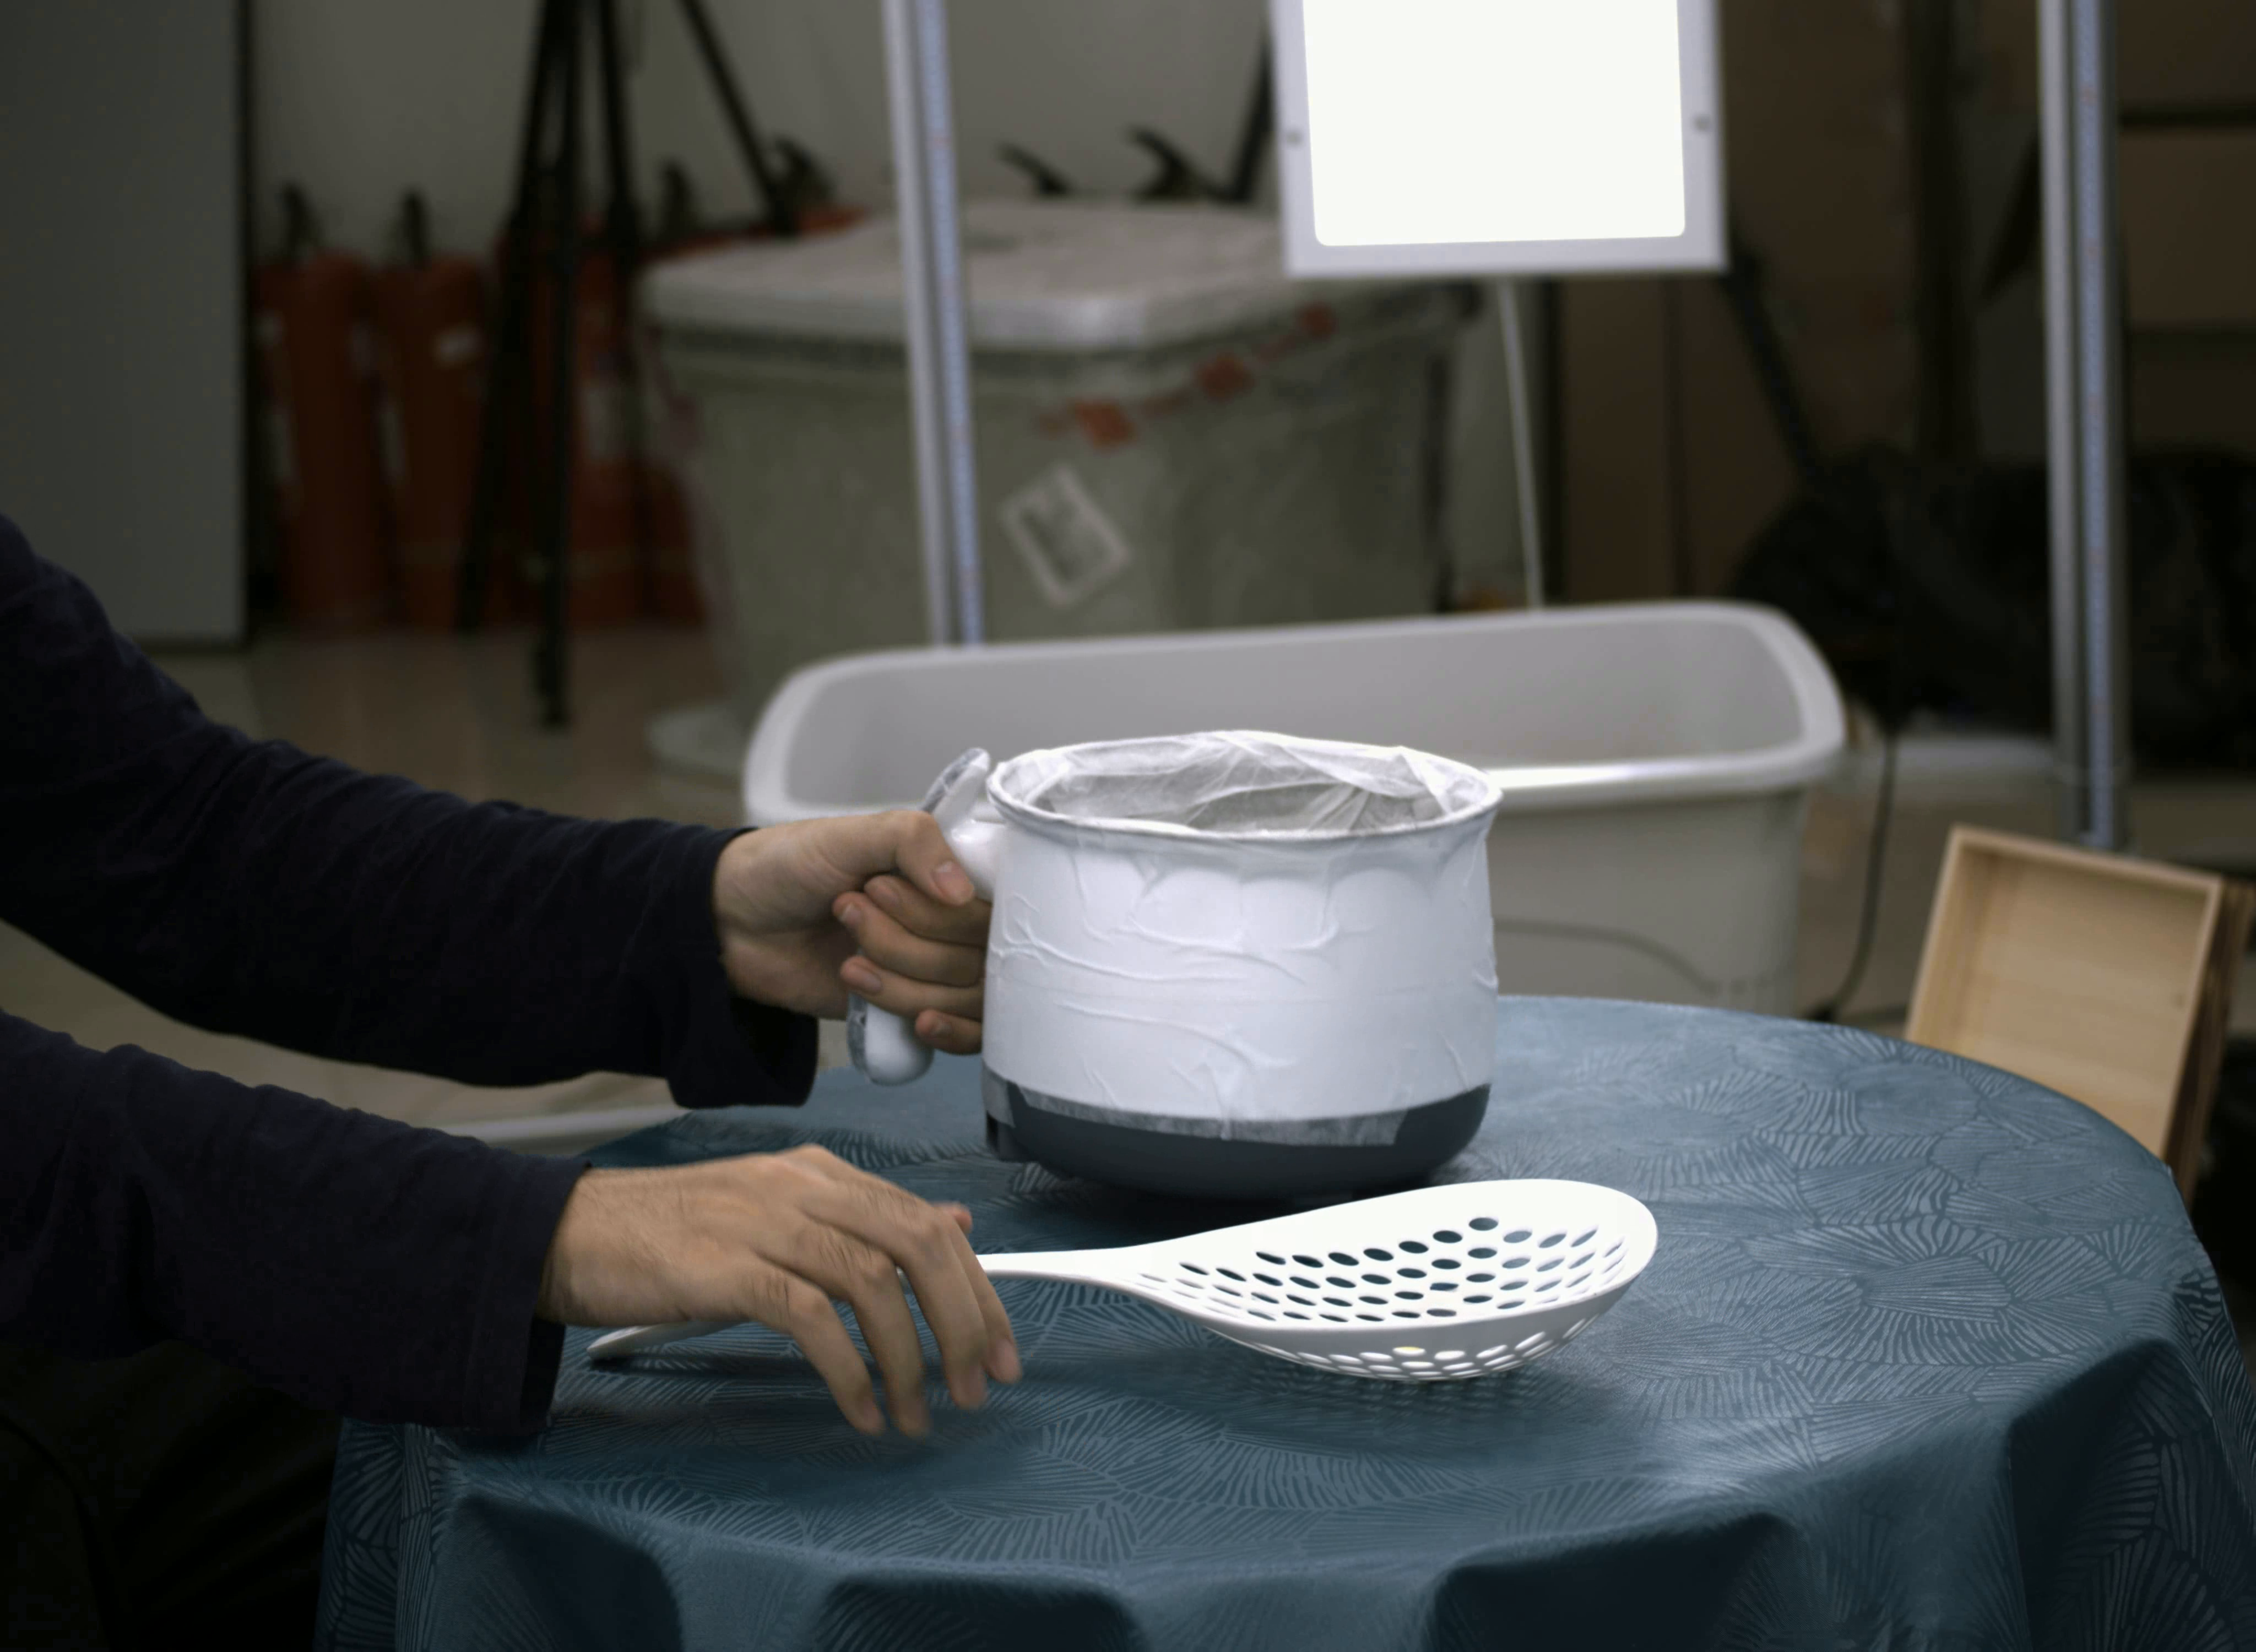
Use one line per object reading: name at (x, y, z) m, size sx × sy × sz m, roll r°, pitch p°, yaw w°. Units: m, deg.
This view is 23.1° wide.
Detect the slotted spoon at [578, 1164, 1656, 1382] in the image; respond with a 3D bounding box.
slotted spoon at (-0.007, 0.148, 1.725) m, size 0.351 × 0.050 × 0.135 m, roll 0°, pitch 15°, yaw 16°

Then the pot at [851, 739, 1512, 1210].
pot at (0.015, 0.046, 1.899) m, size 0.237 × 0.137 × 0.175 m, roll 6°, pitch 11°, yaw 20°
